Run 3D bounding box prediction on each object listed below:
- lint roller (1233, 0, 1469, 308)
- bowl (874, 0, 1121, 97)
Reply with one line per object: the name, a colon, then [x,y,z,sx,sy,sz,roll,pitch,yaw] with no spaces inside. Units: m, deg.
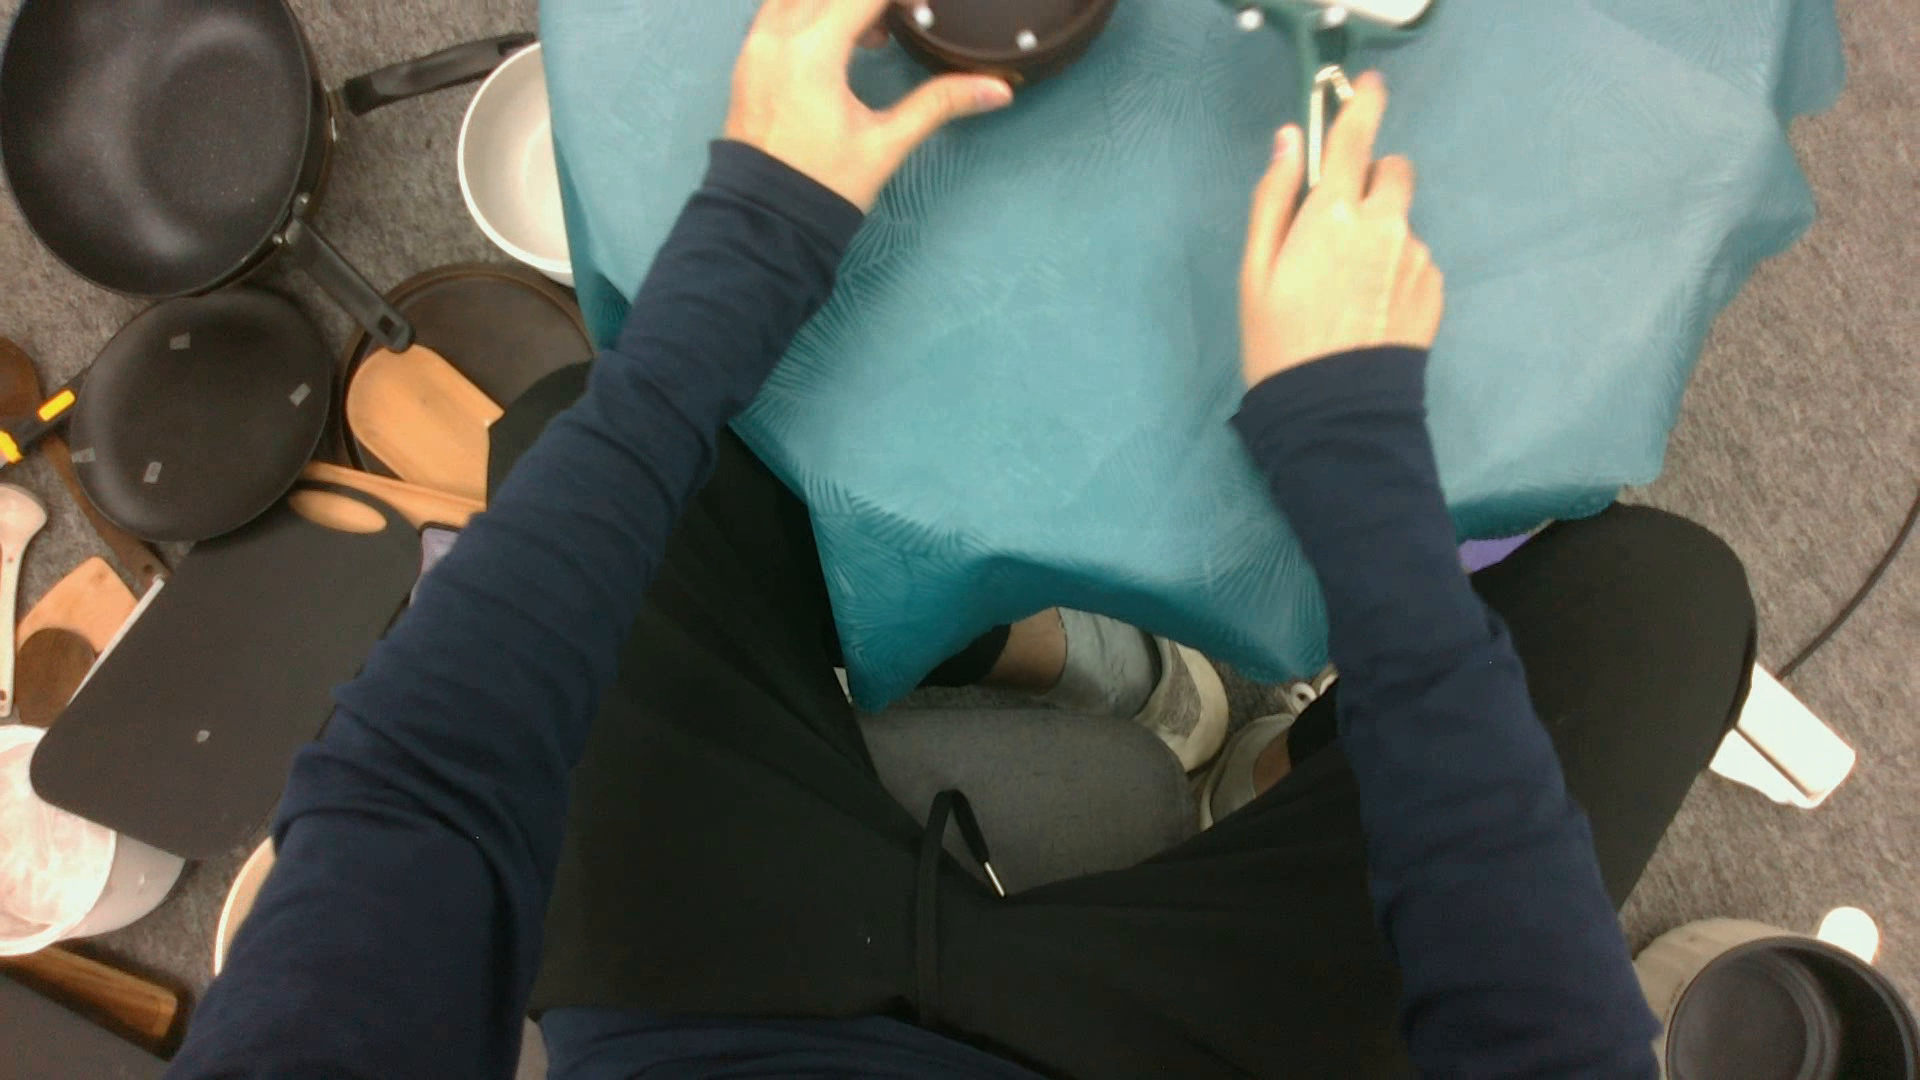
lint roller: [0.170,-0.195,0.605,0.134,0.048,0.180,4,78,-25]
bowl: [0.017,-0.261,0.636,0.118,0.070,0.118,0,86,1]
